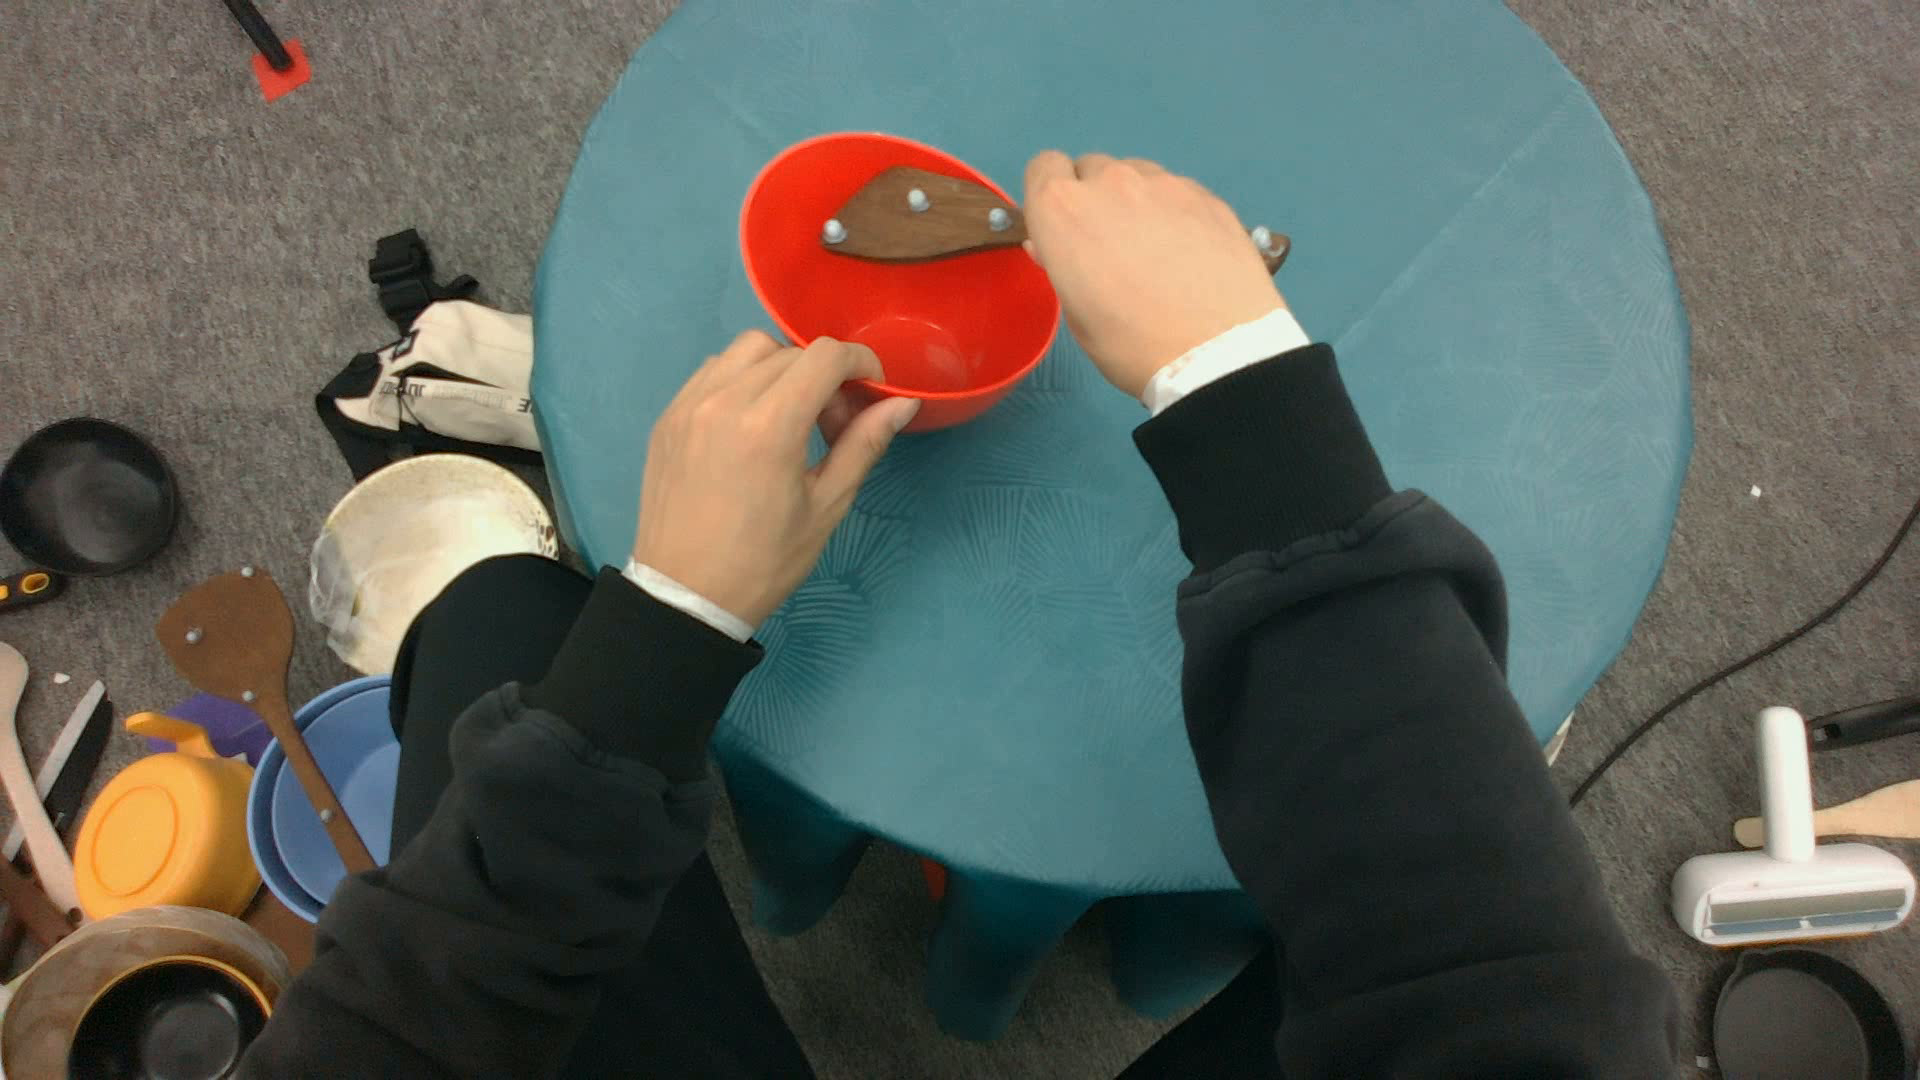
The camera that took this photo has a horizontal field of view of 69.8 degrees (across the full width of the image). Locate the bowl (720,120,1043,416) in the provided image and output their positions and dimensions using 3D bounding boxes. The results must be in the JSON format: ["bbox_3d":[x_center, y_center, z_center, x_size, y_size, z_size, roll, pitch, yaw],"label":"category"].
[{"bbox_3d":[-0.040,-0.113,0.650,0.148,0.104,0.148,5,60,-9],"label":"bowl"}]

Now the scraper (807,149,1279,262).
[{"bbox_3d":[0.033,-0.139,0.589,0.211,0.011,0.076,14,49,29],"label":"scraper"}]
